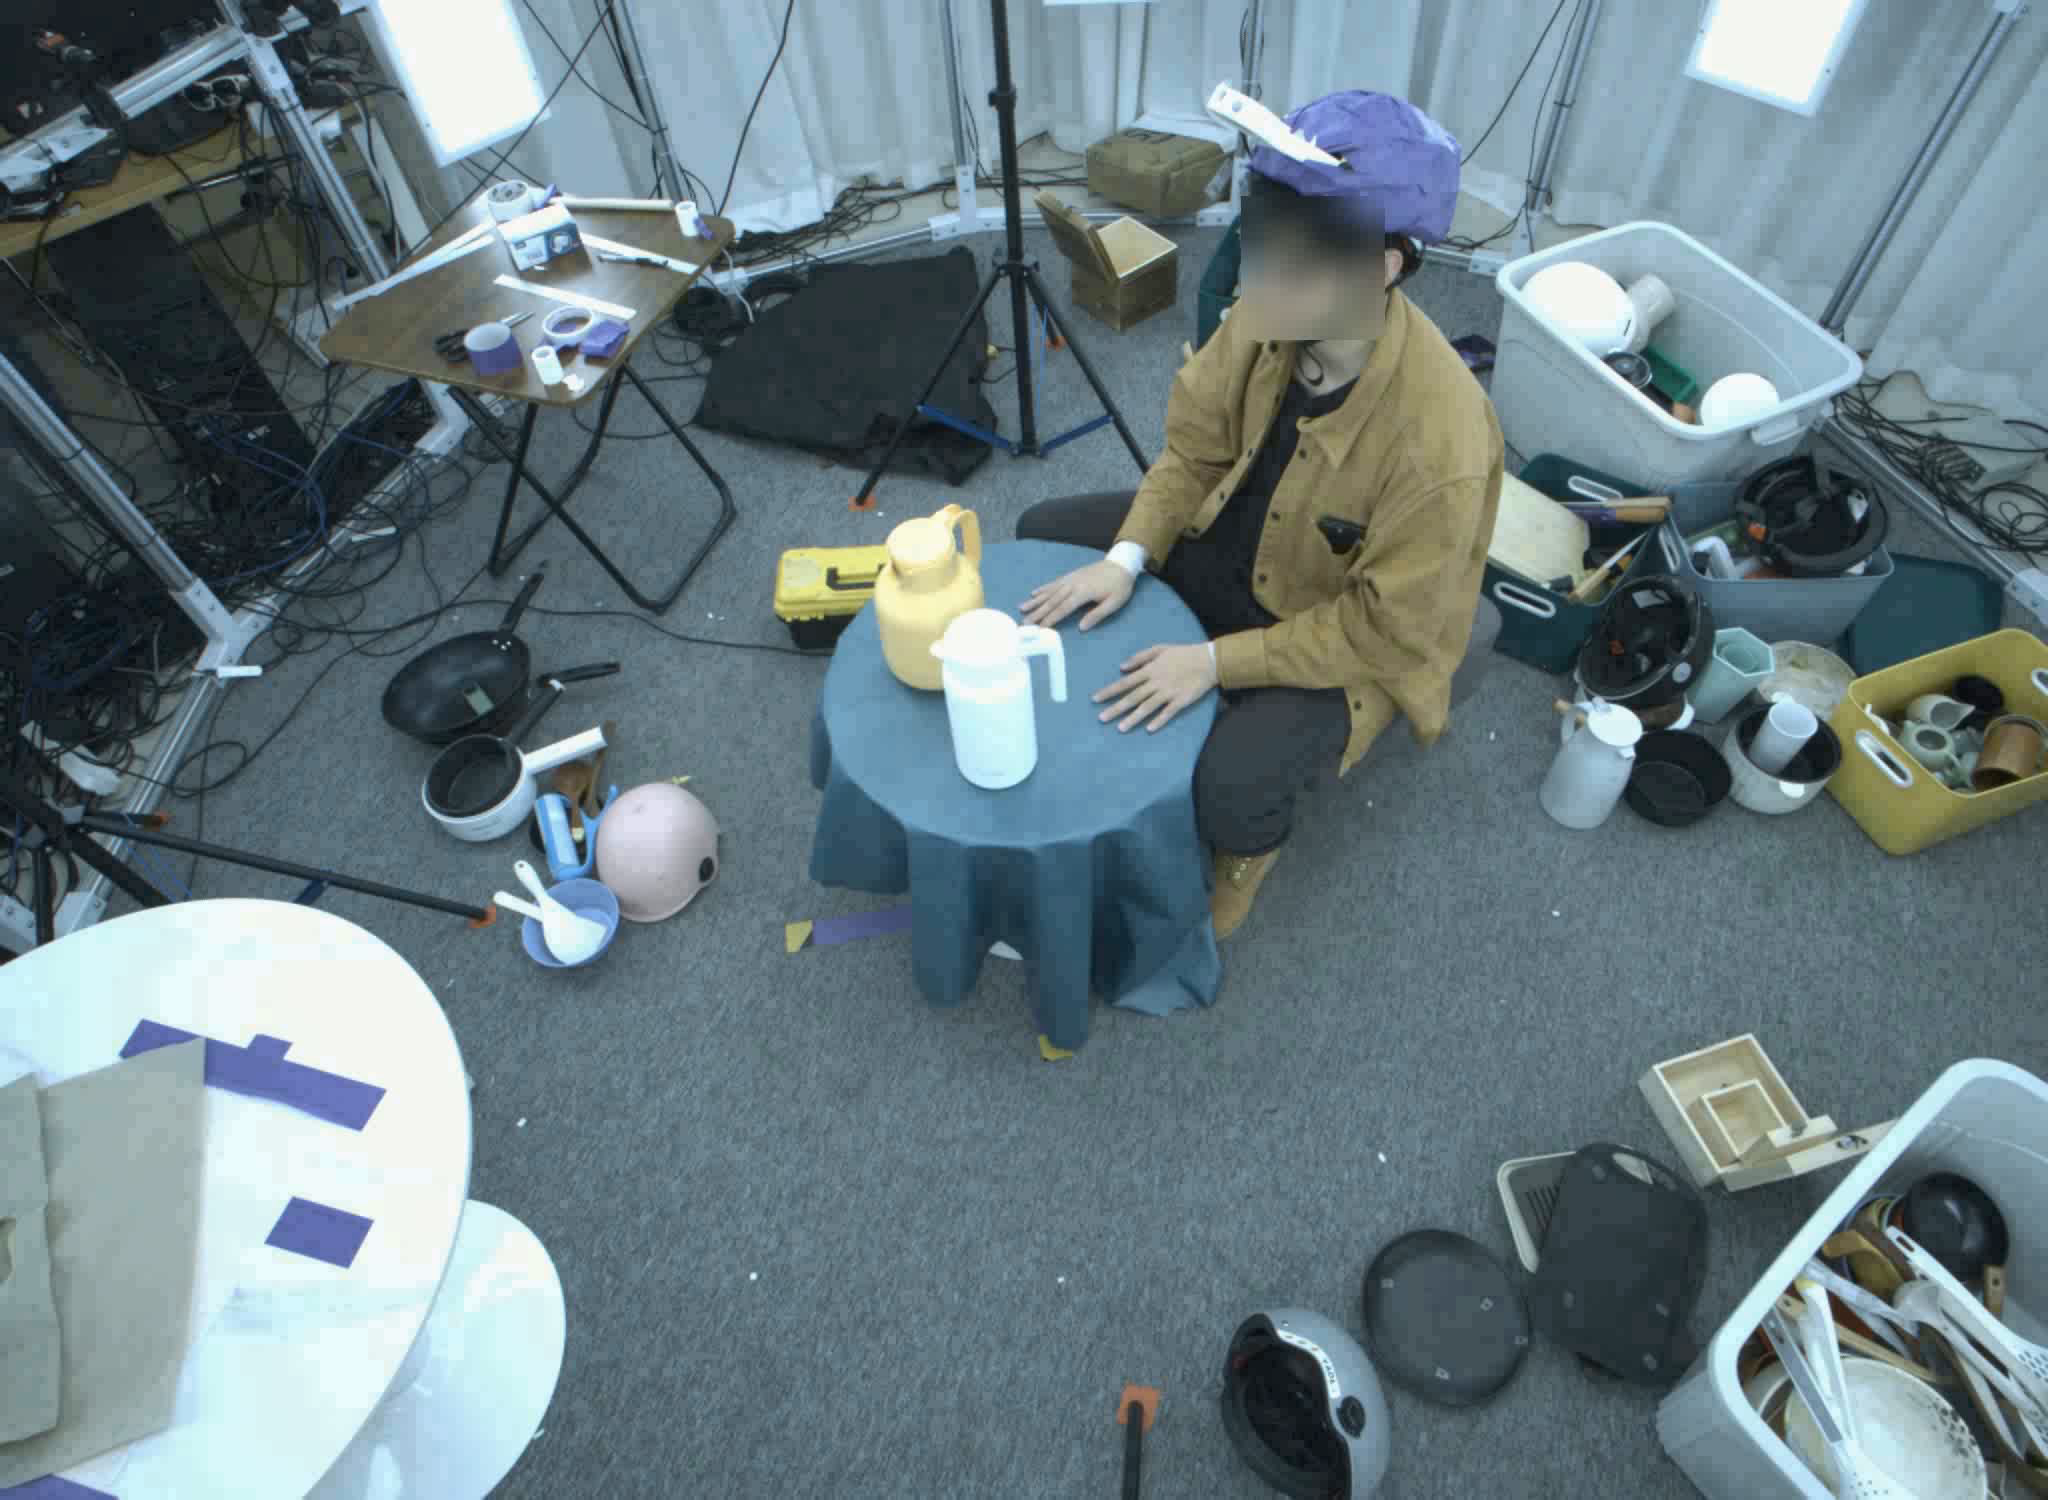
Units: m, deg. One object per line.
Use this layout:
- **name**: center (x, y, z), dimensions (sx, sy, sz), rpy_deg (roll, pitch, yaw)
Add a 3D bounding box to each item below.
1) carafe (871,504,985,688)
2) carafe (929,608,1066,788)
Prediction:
- **carafe**: center (-0.128, -0.232, 1.791), dimensions (0.161, 0.263, 0.203), rpy_deg (29, 62, 19)
- **carafe**: center (-0.030, -0.071, 1.669), dimensions (0.173, 0.272, 0.122), rpy_deg (-10, 52, -4)
